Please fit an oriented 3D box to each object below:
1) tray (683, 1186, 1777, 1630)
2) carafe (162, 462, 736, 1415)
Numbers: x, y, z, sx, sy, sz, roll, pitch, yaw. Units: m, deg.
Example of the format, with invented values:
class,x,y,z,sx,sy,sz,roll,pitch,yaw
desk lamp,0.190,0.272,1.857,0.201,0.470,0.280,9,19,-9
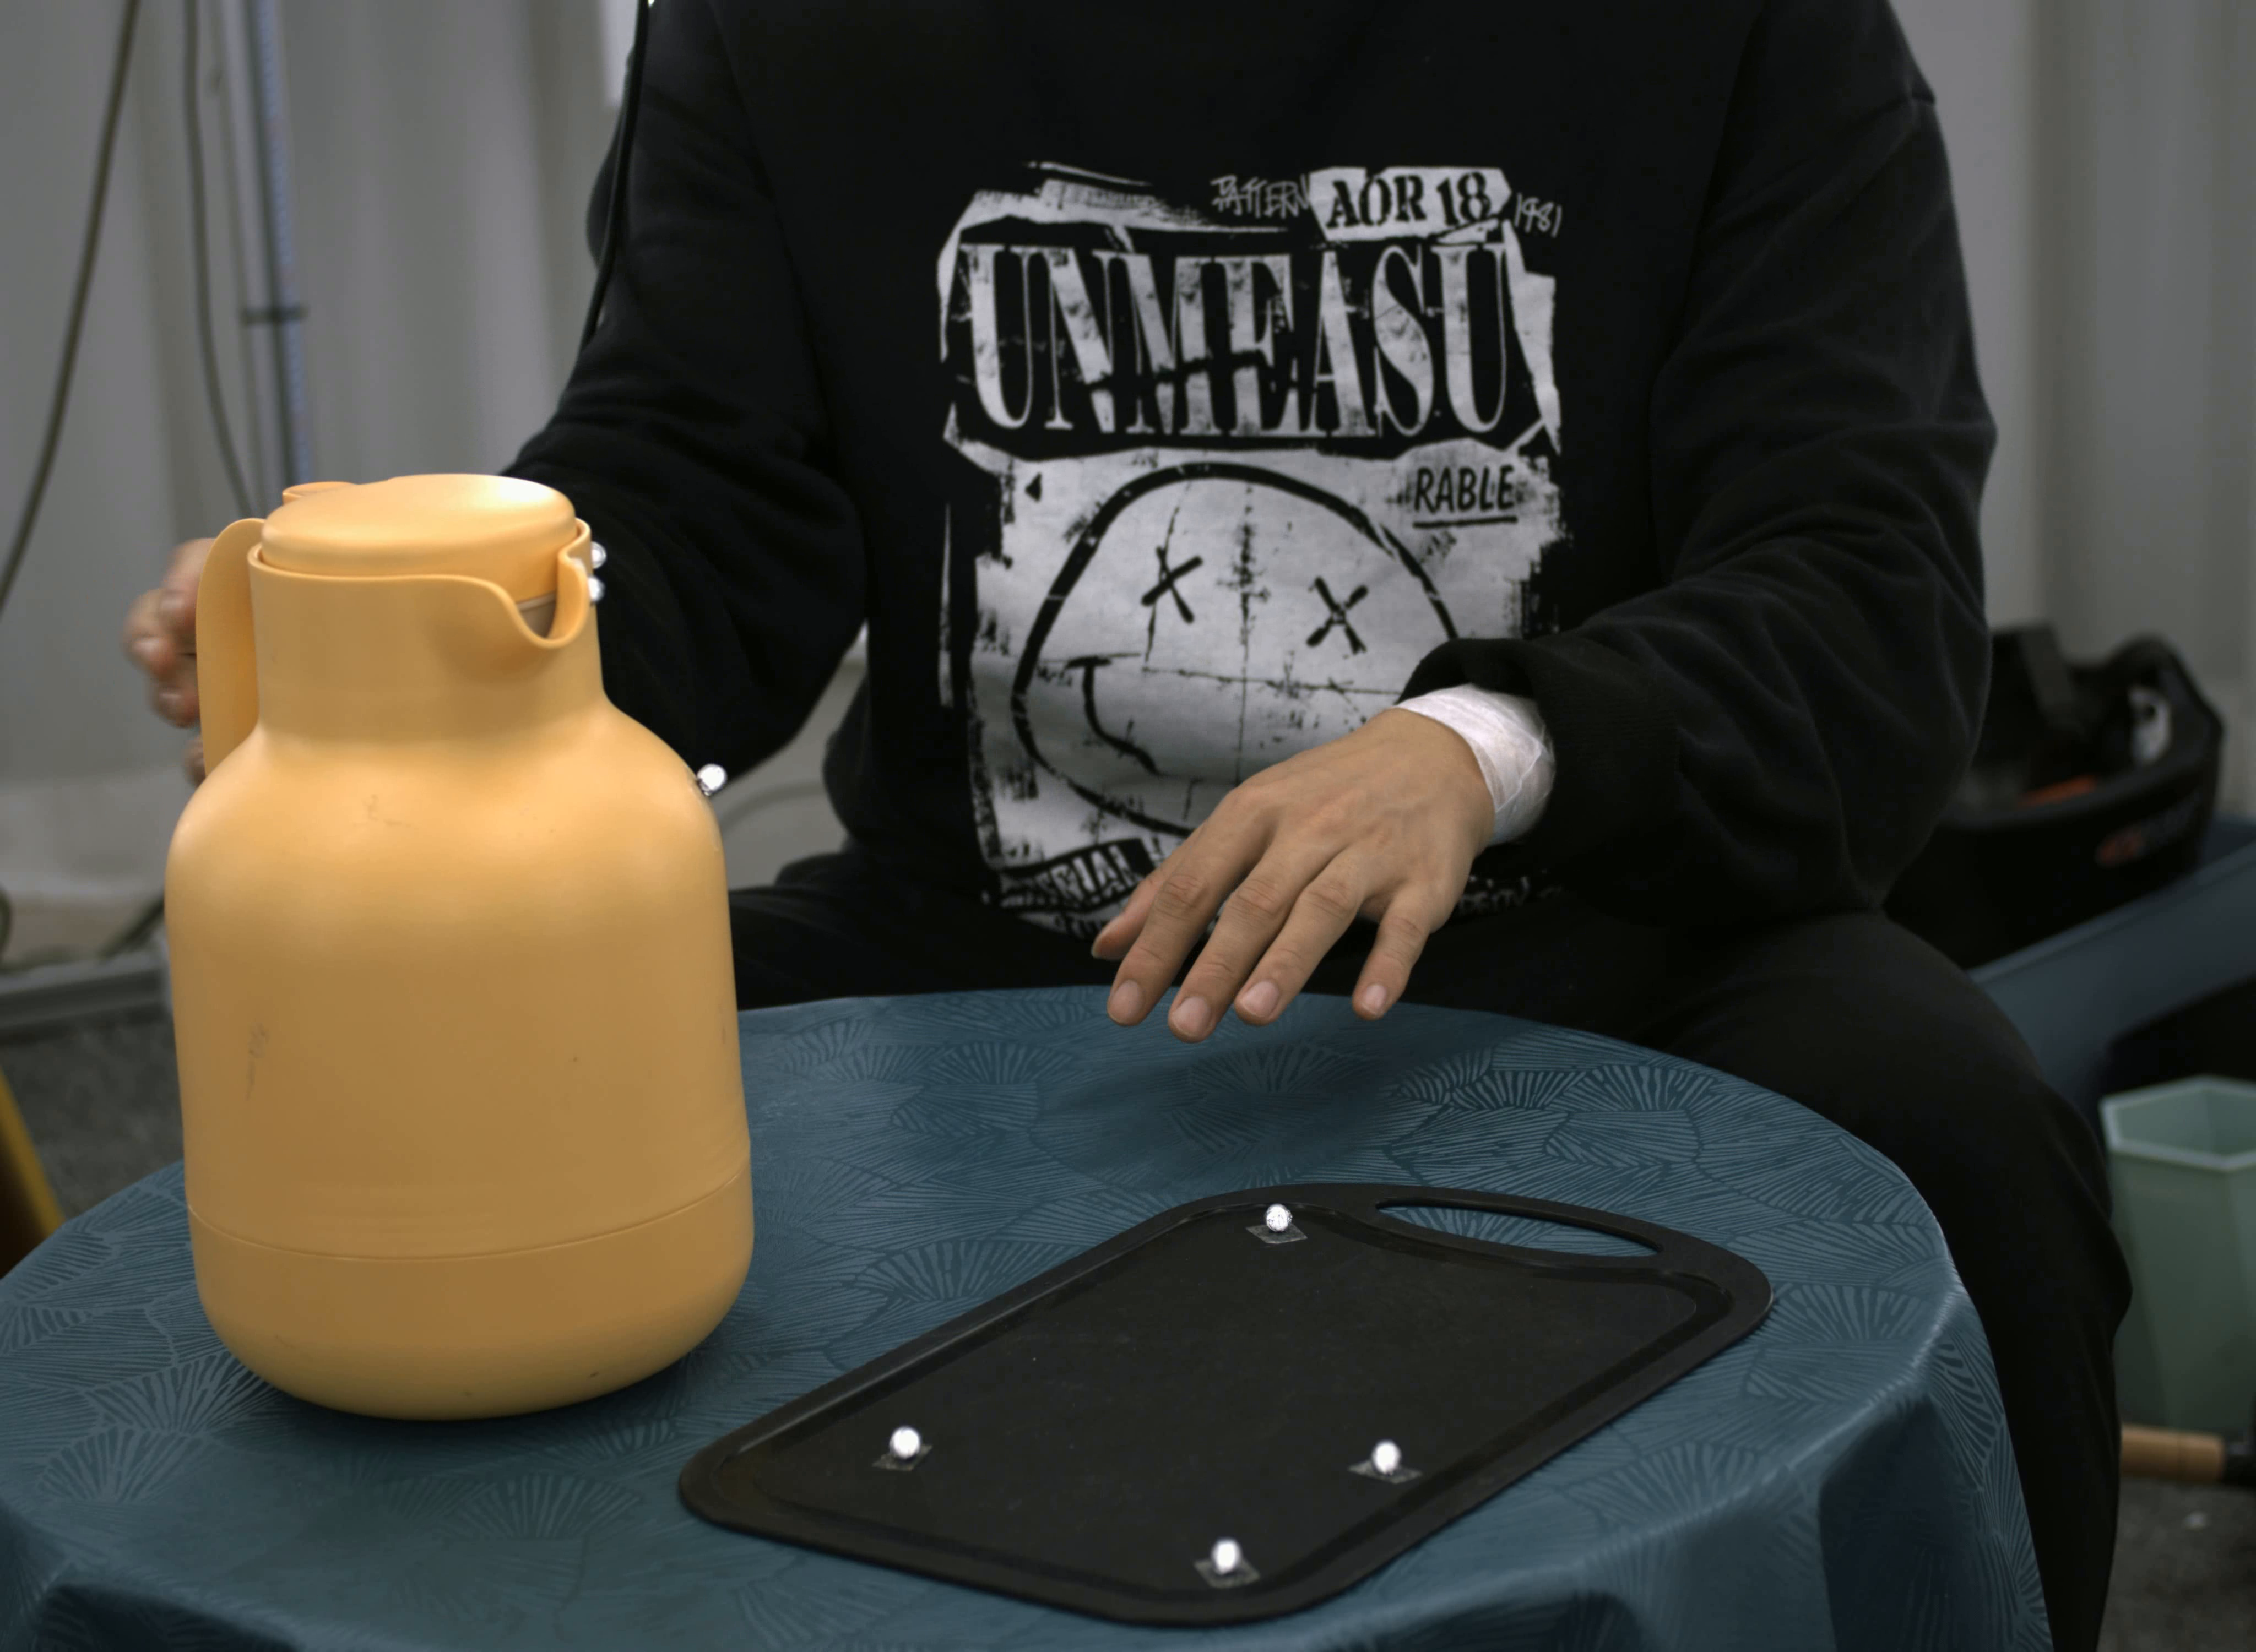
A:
class,x,y,z,sx,sy,sz,roll,pitch,yaw
tray,0.038,0.154,1.546,0.212,0.010,0.325,8,18,35
carafe,-0.205,0.024,1.587,0.163,0.259,0.204,-9,17,-33
